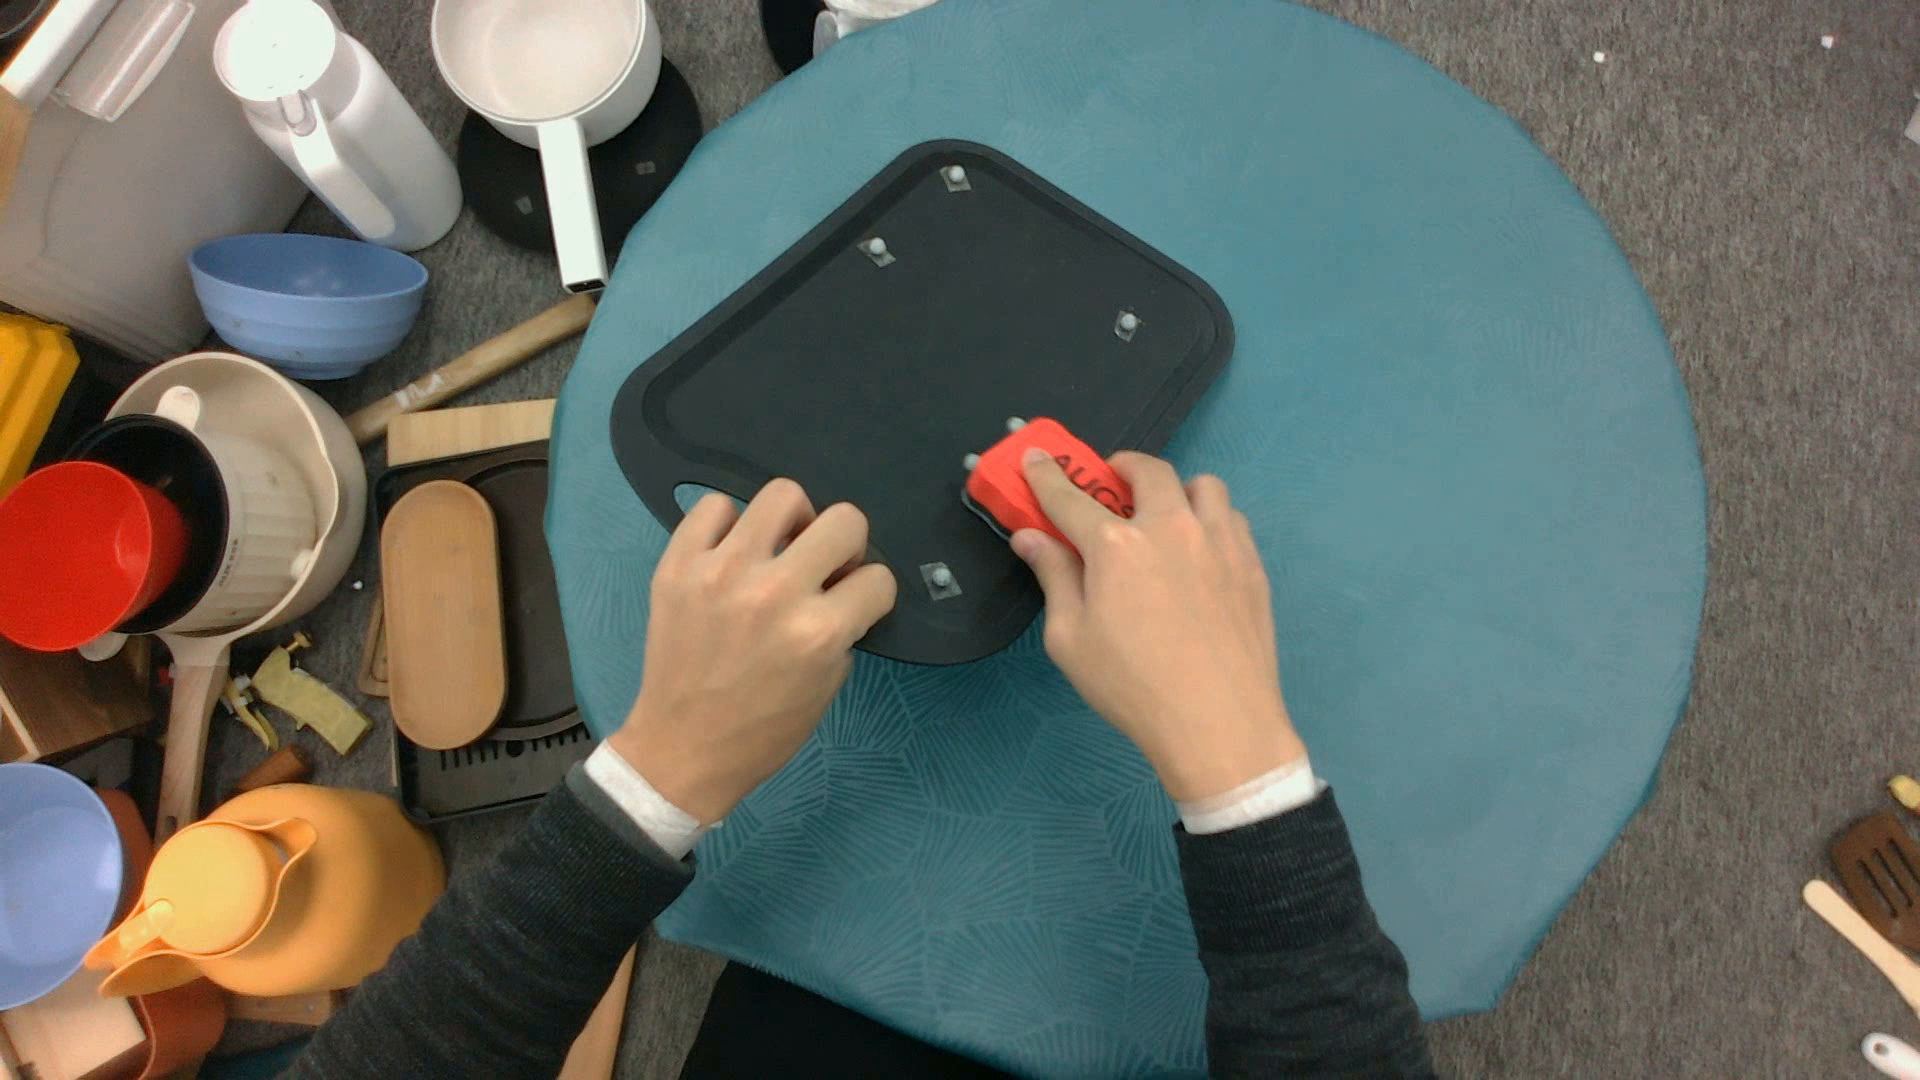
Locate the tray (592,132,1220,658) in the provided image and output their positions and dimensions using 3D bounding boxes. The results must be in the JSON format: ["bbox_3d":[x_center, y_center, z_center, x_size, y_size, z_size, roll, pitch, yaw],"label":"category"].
[{"bbox_3d":[-0.014,-0.084,0.655,0.211,0.010,0.327,34,53,8],"label":"tray"}]

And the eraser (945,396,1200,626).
[{"bbox_3d":[0.050,-0.015,0.611,0.108,0.023,0.059,40,56,11],"label":"eraser"}]
